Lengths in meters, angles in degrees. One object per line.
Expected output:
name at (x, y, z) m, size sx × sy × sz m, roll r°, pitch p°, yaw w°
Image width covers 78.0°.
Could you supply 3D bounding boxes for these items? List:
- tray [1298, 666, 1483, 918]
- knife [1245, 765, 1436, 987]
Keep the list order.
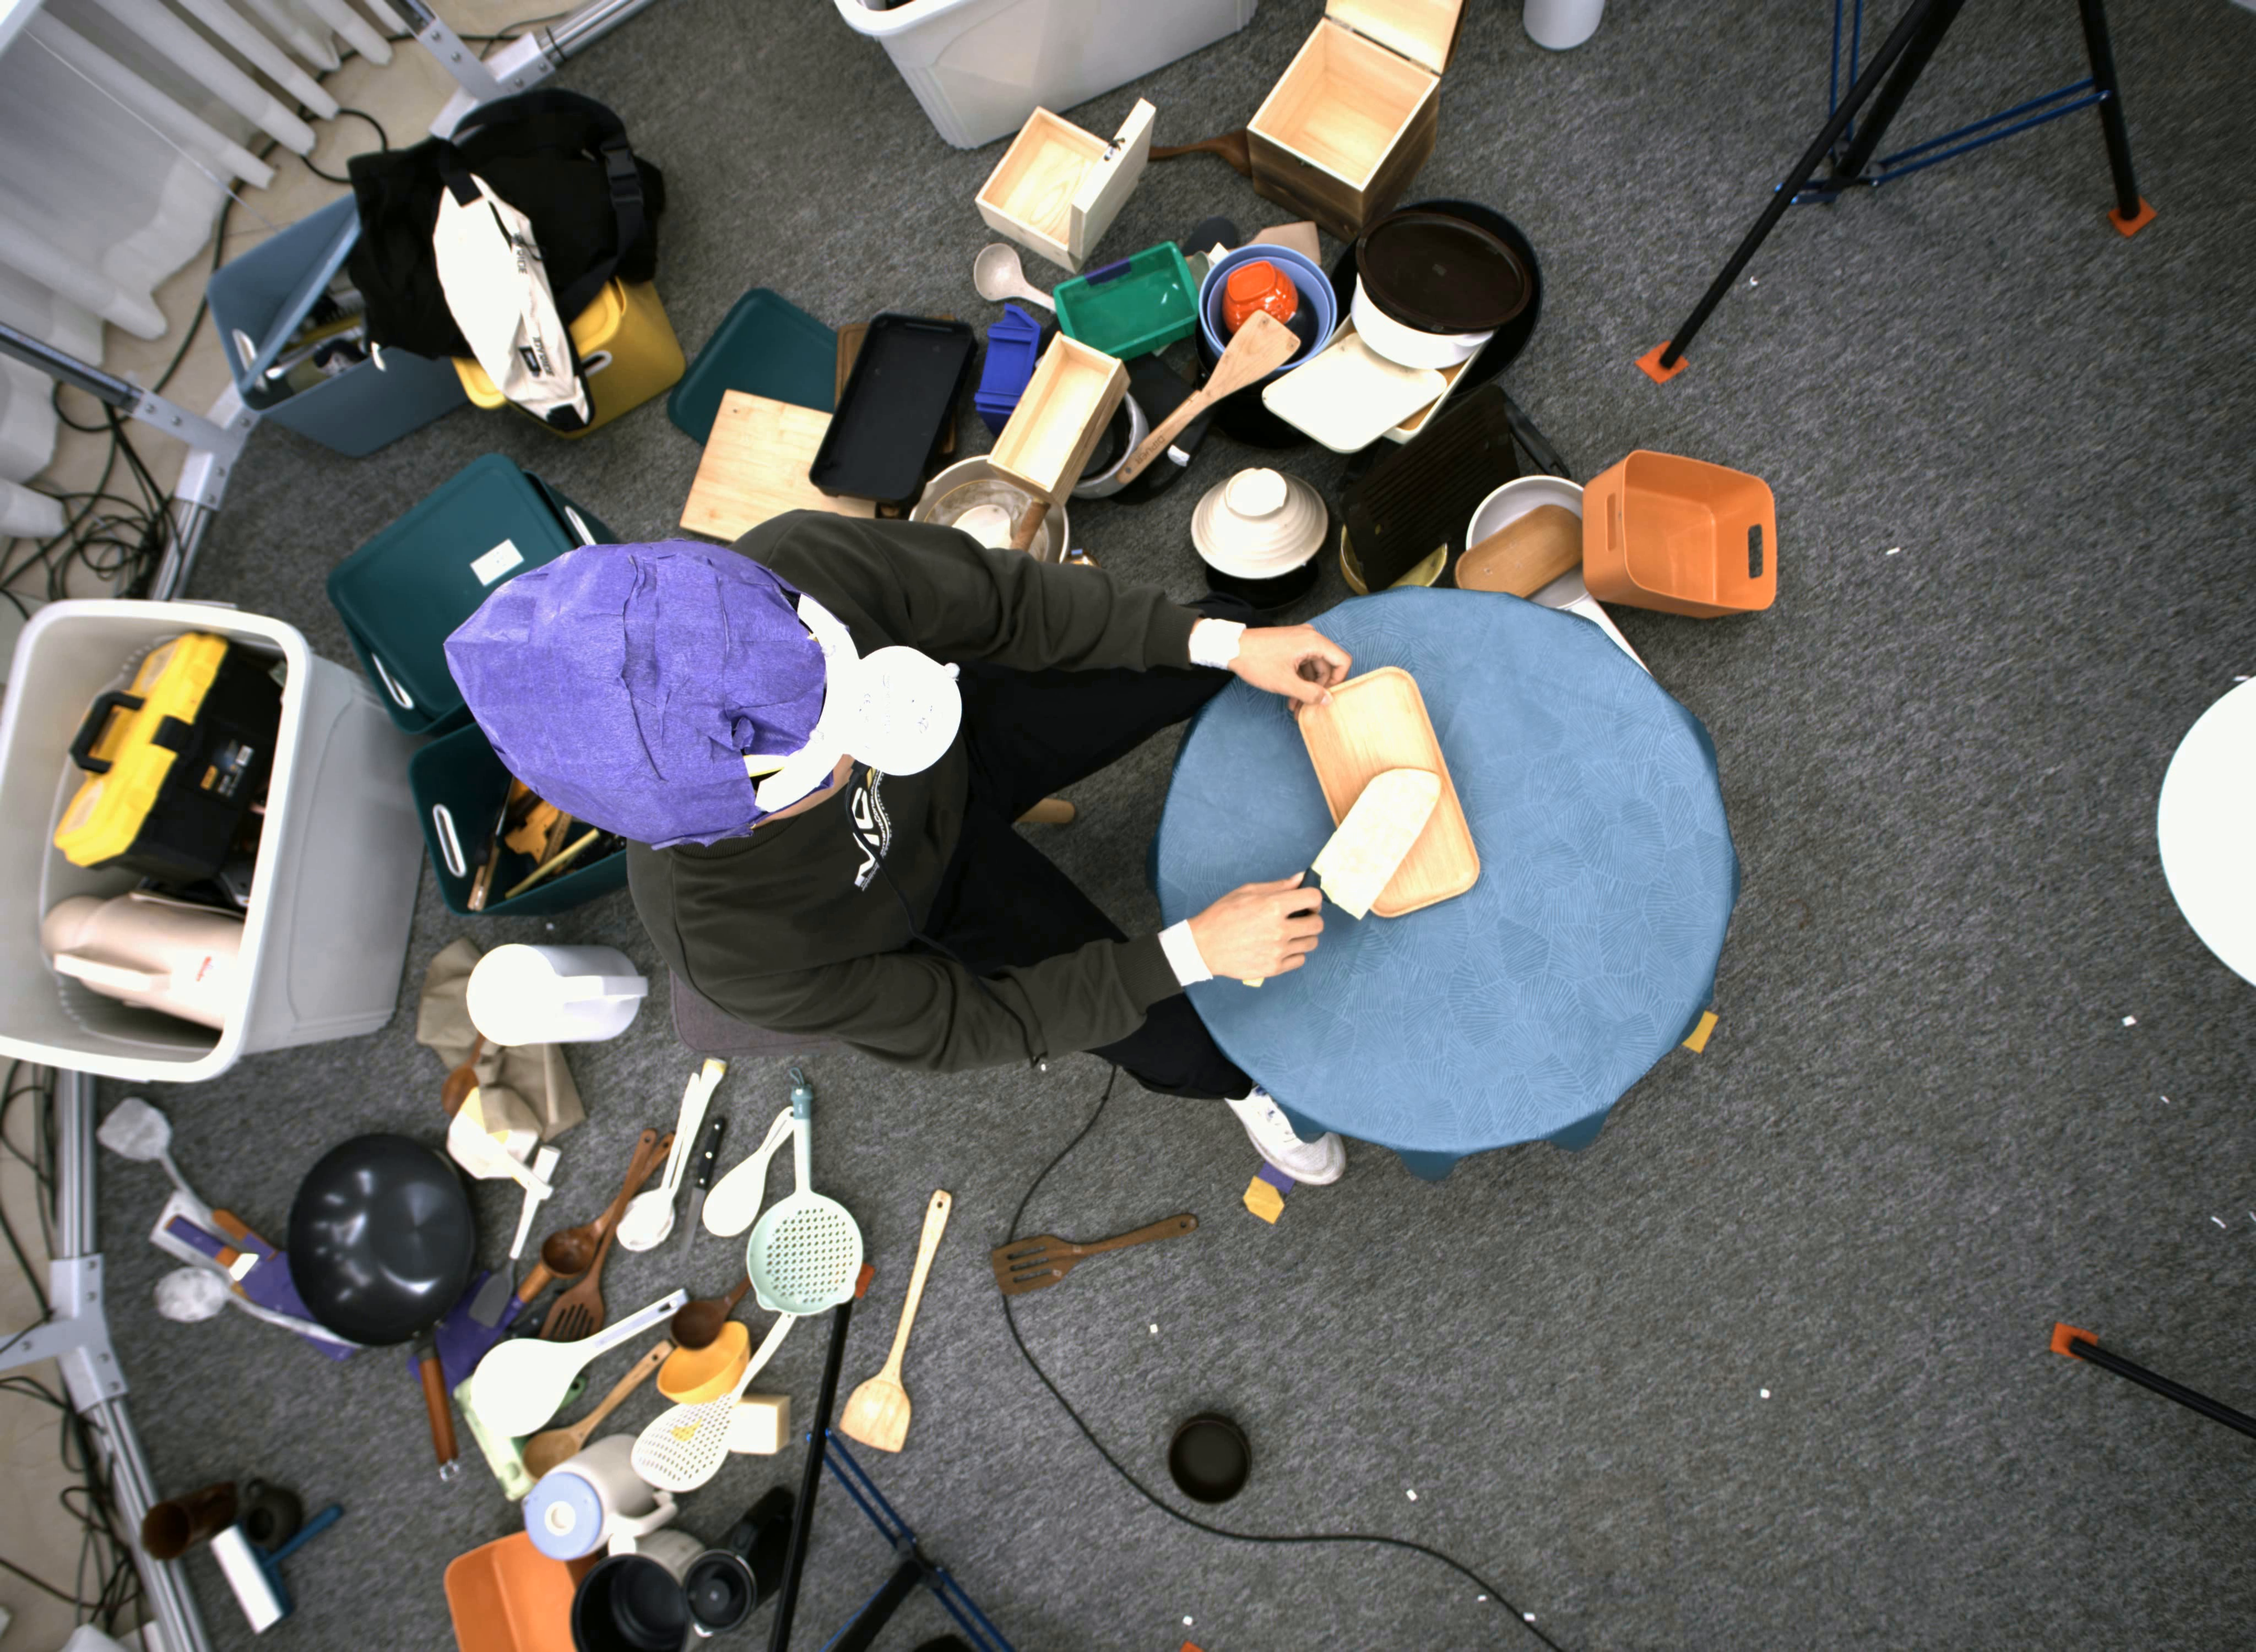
tray at (0.272, -0.035, 1.422) m, size 0.131 × 0.022 × 0.252 m, roll -20°, pitch 101°, yaw 11°
knife at (0.218, 0.052, 1.398) m, size 0.081 × 0.027 × 0.288 m, roll 38°, pitch 87°, yaw 0°
